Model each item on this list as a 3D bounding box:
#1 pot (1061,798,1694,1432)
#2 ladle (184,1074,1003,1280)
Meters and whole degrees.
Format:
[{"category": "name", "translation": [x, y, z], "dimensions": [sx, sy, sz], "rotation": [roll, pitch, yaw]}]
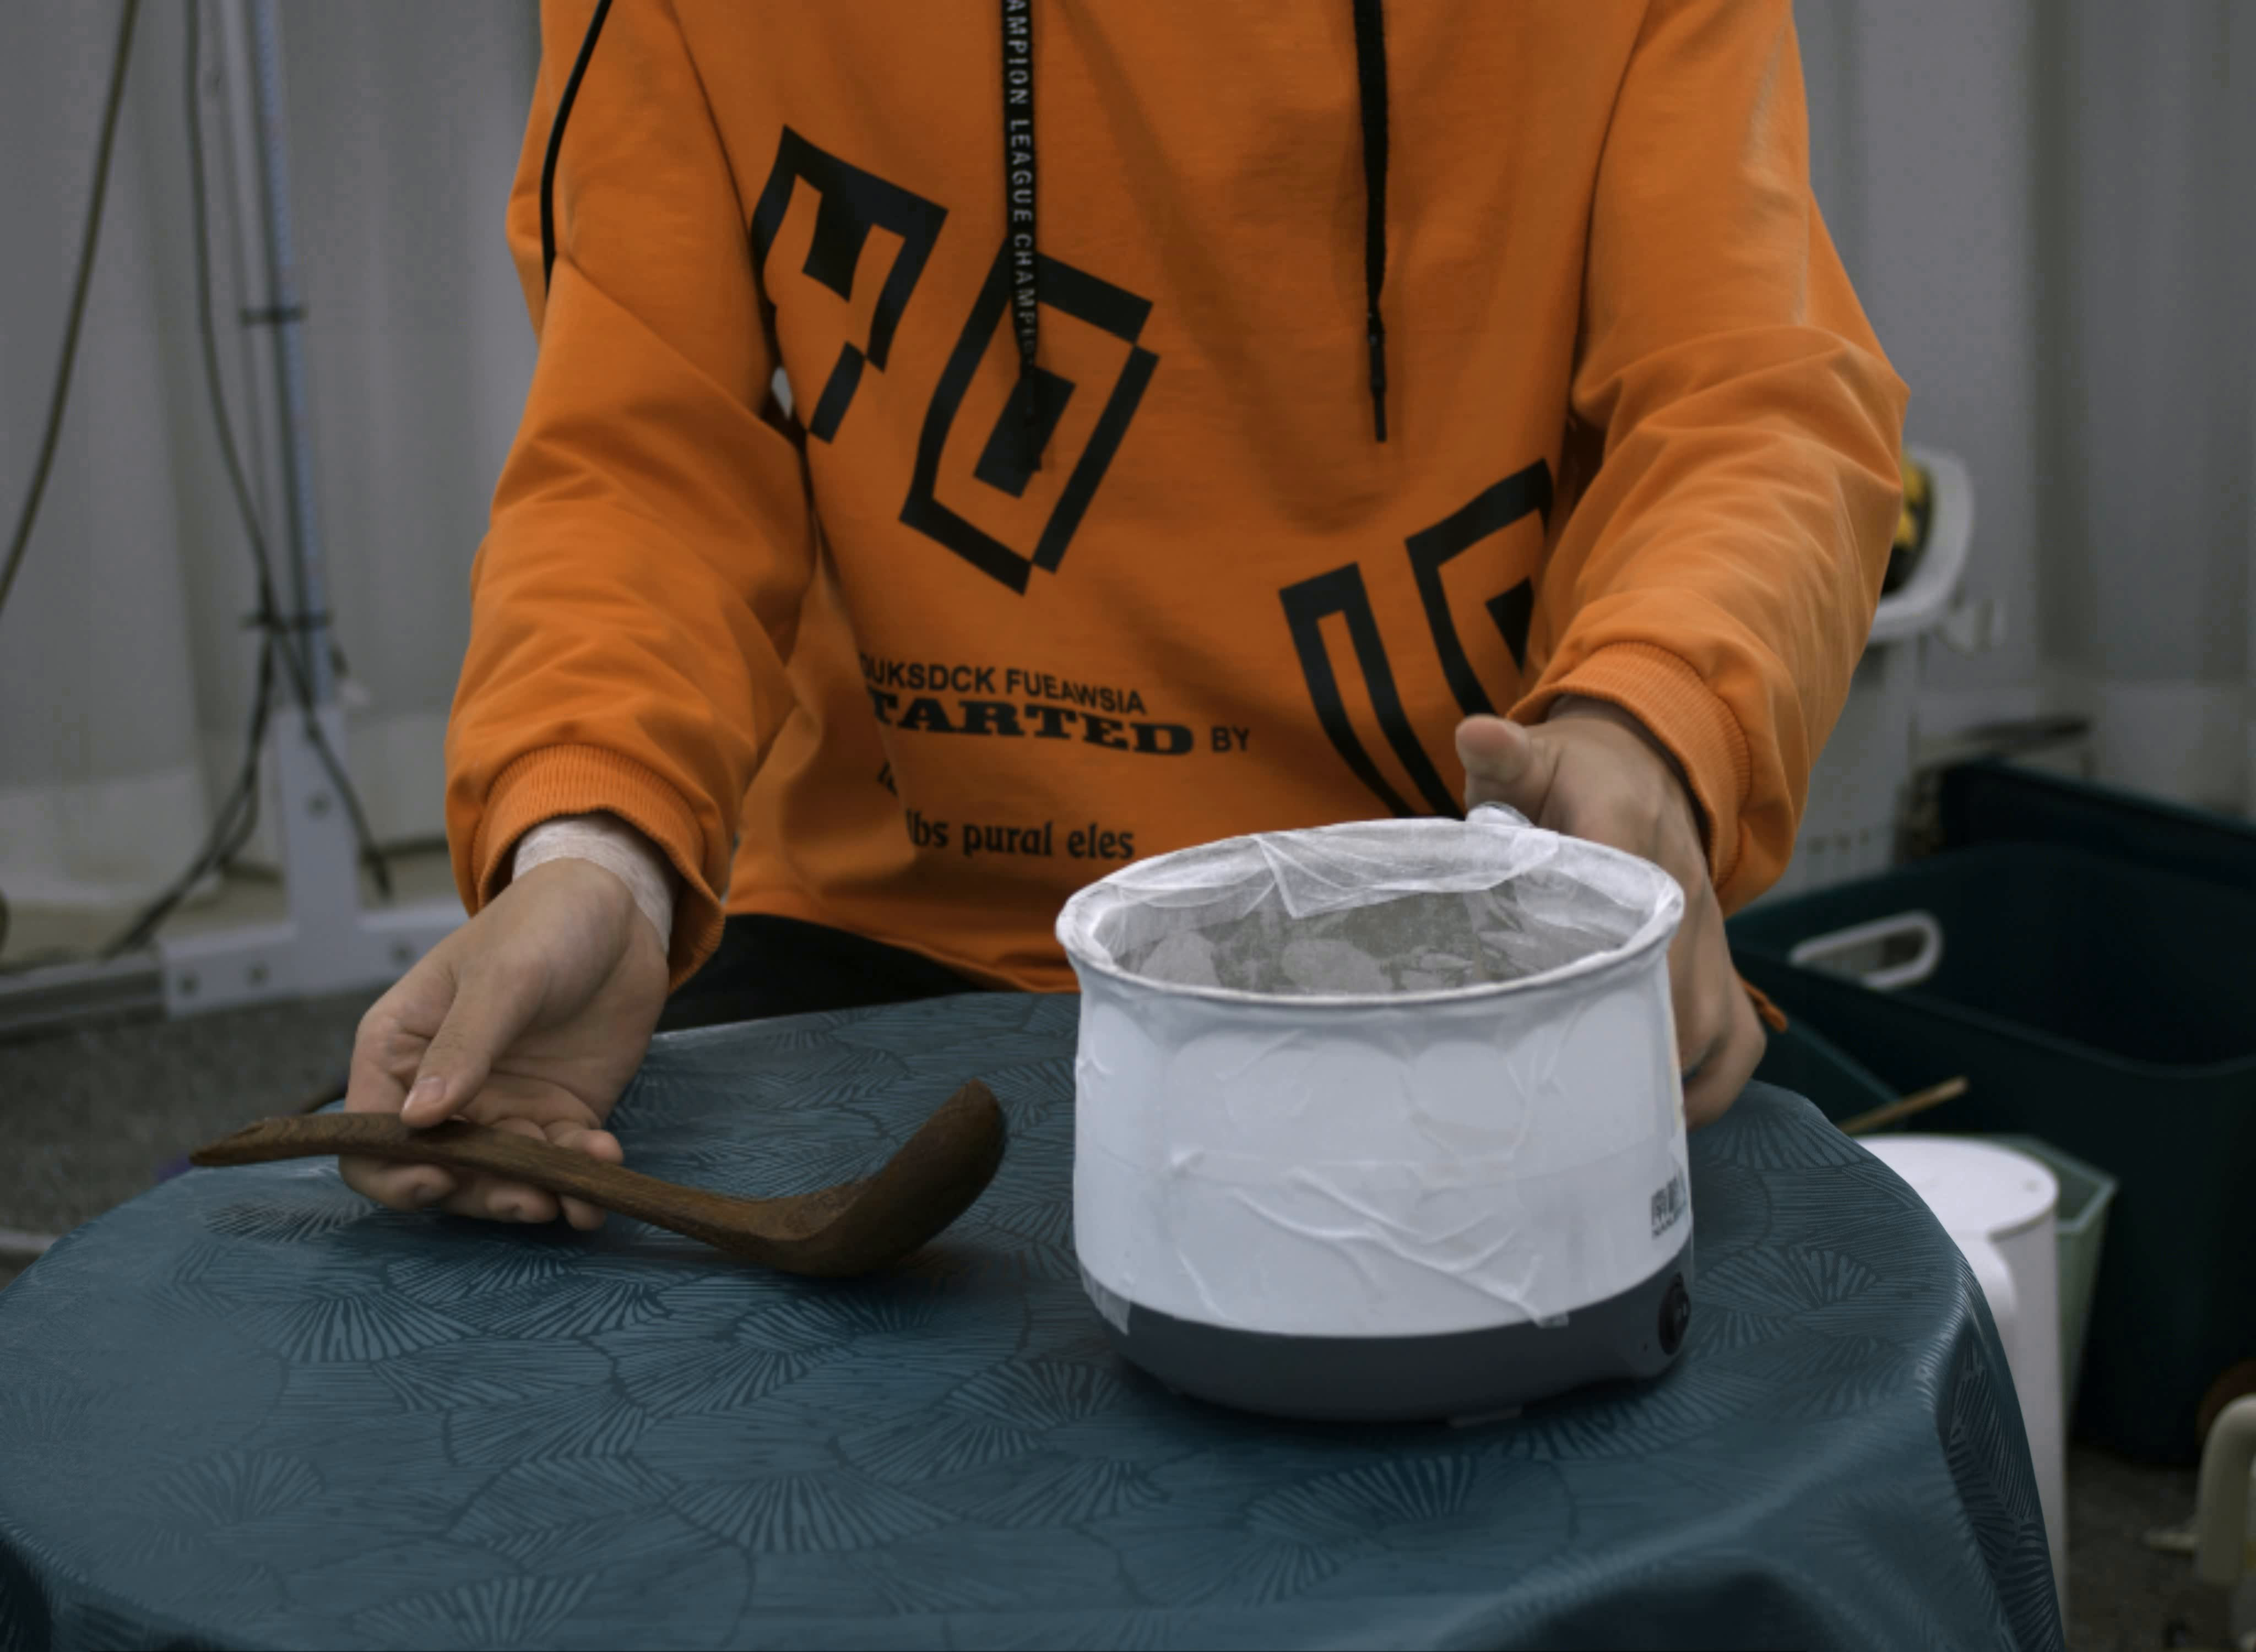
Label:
[{"category": "pot", "translation": [0.082, 0.077, 1.578], "dimensions": [0.179, 0.136, 0.234], "rotation": [4, 16, 22]}, {"category": "ladle", "translation": [-0.168, 0.091, 1.681], "dimensions": [0.274, 0.071, 0.076], "rotation": [9, 17, 22]}]
